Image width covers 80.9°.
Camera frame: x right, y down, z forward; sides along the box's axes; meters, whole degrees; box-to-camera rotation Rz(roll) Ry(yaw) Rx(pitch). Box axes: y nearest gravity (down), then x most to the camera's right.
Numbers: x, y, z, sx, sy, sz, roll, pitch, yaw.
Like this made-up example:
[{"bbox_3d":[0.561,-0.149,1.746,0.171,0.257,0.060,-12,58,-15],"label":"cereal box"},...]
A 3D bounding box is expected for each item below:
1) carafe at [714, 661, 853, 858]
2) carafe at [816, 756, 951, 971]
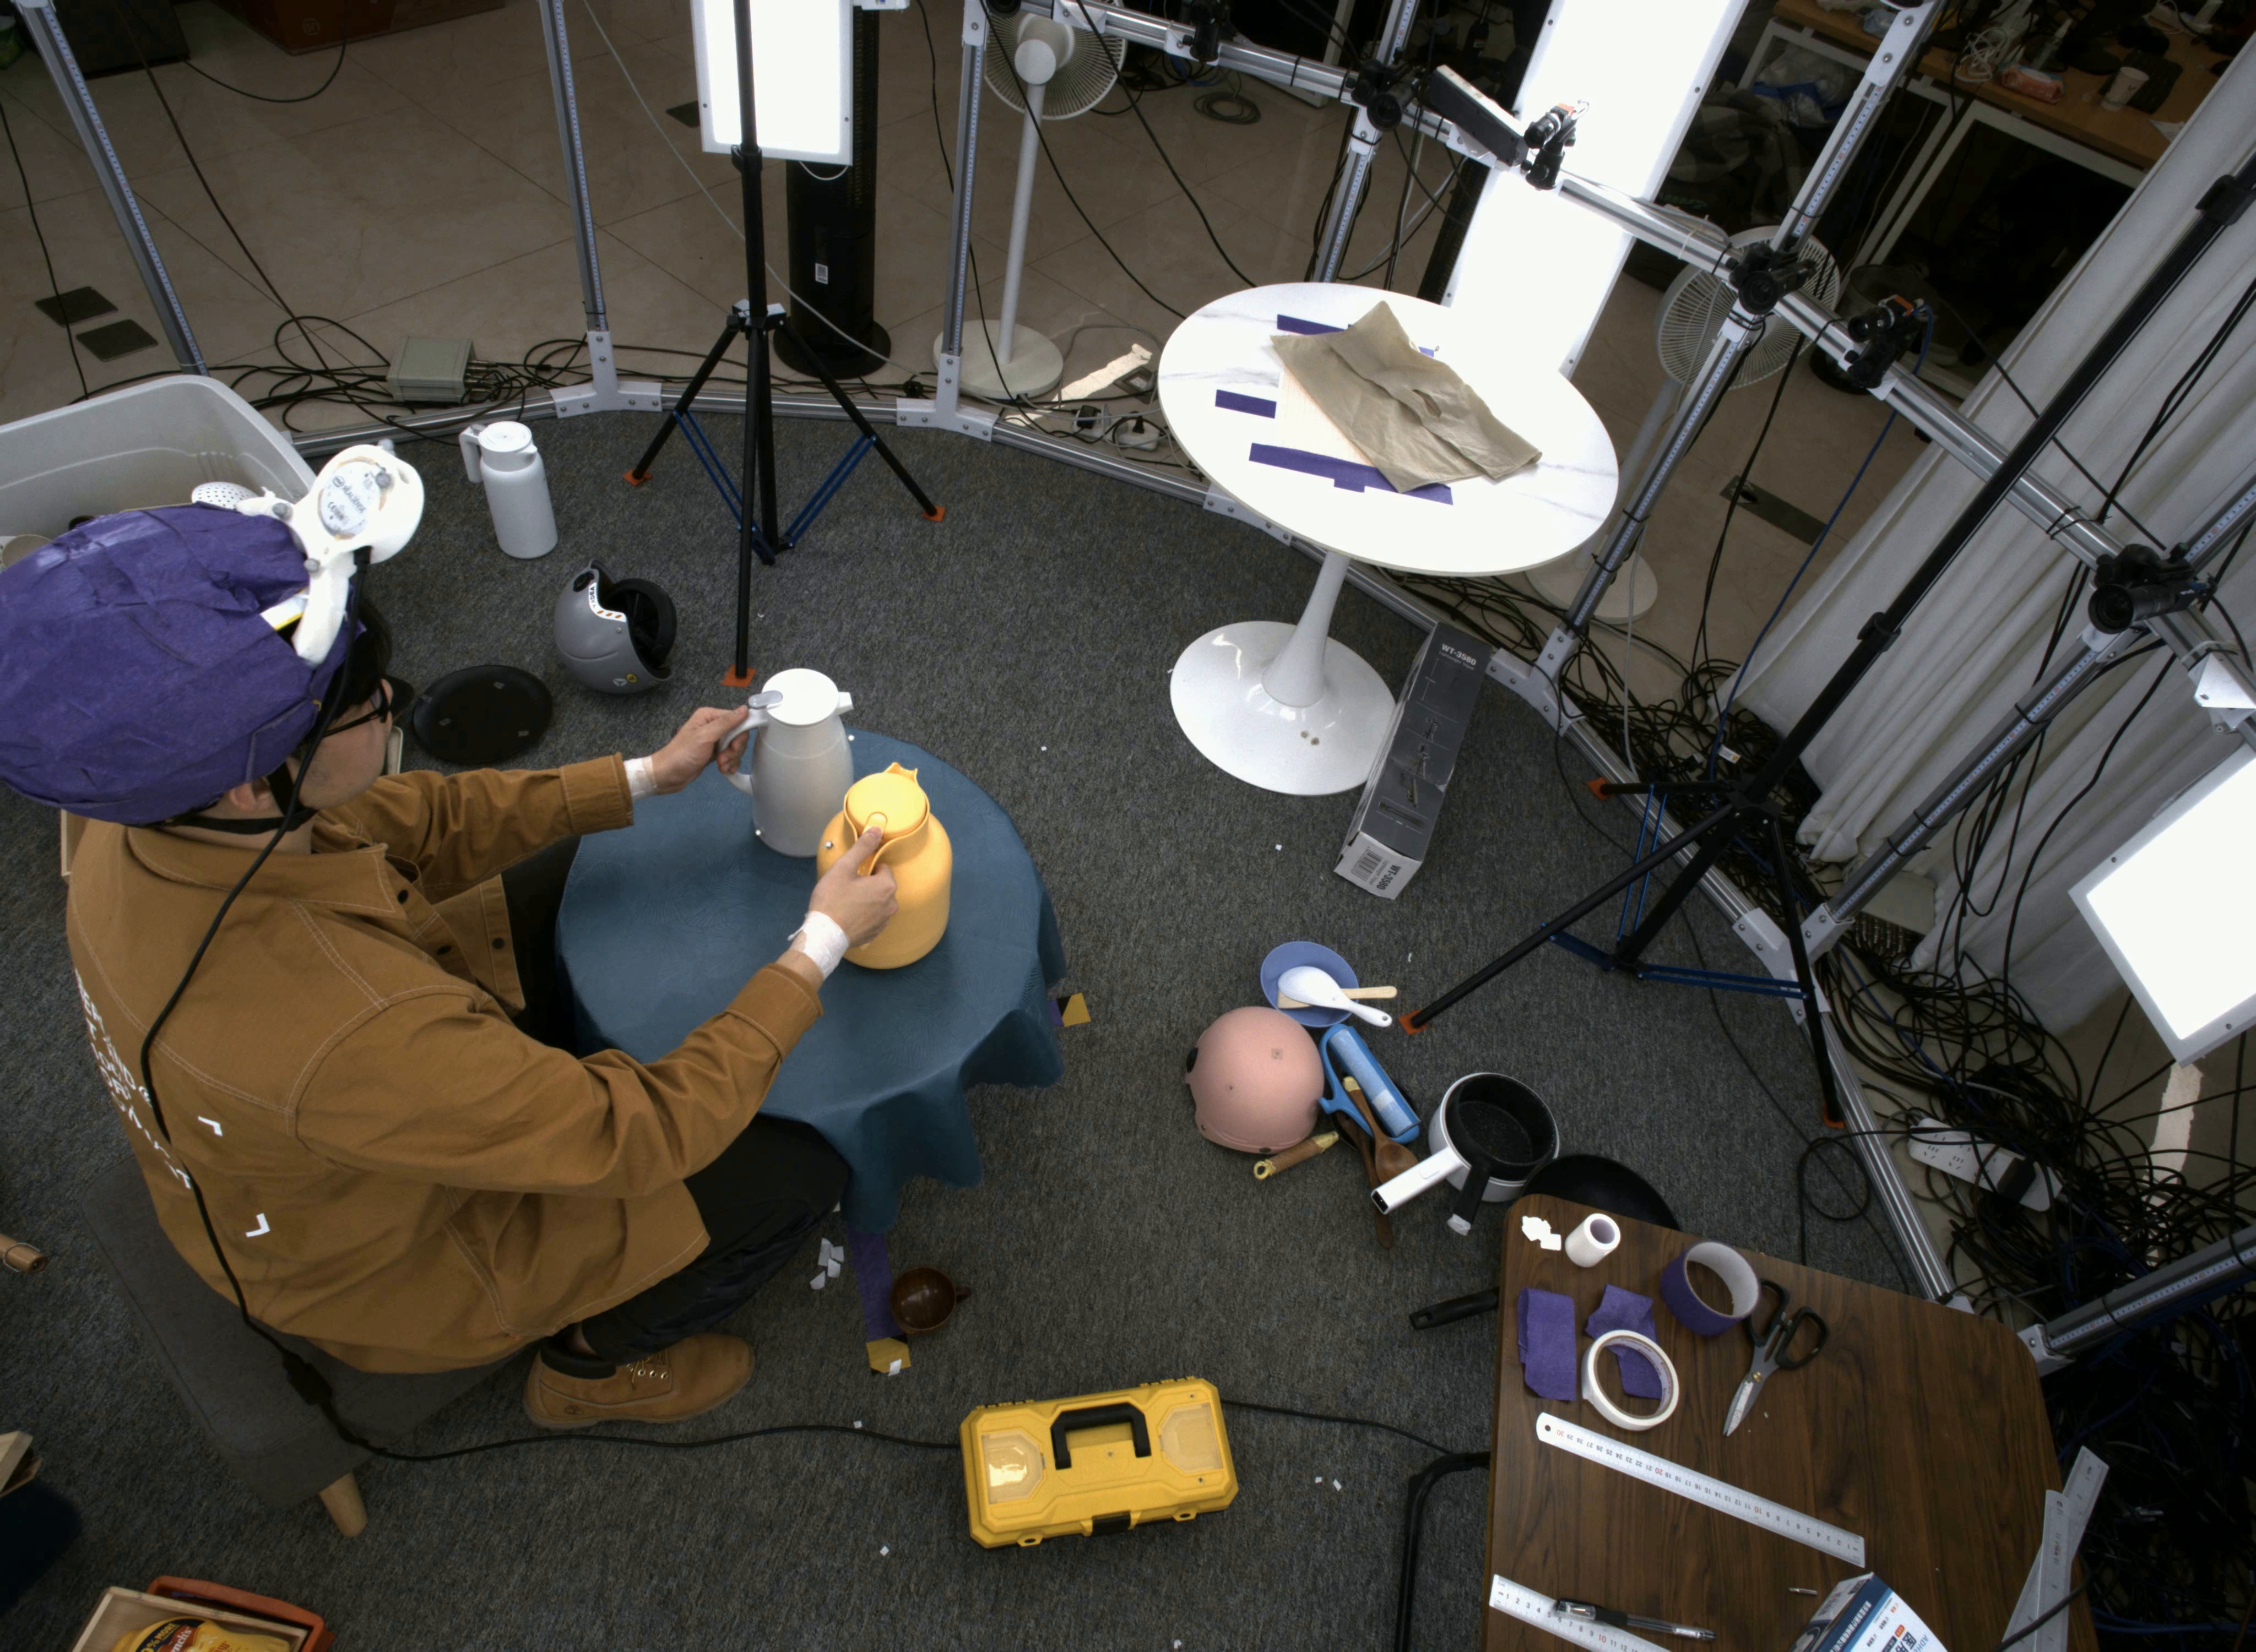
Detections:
[{"bbox_3d":[-0.430,-0.085,1.622,0.168,0.254,0.129,-10,55,-19],"label":"carafe"},{"bbox_3d":[-0.298,0.057,1.543,0.161,0.267,0.200,16,49,3],"label":"carafe"}]
